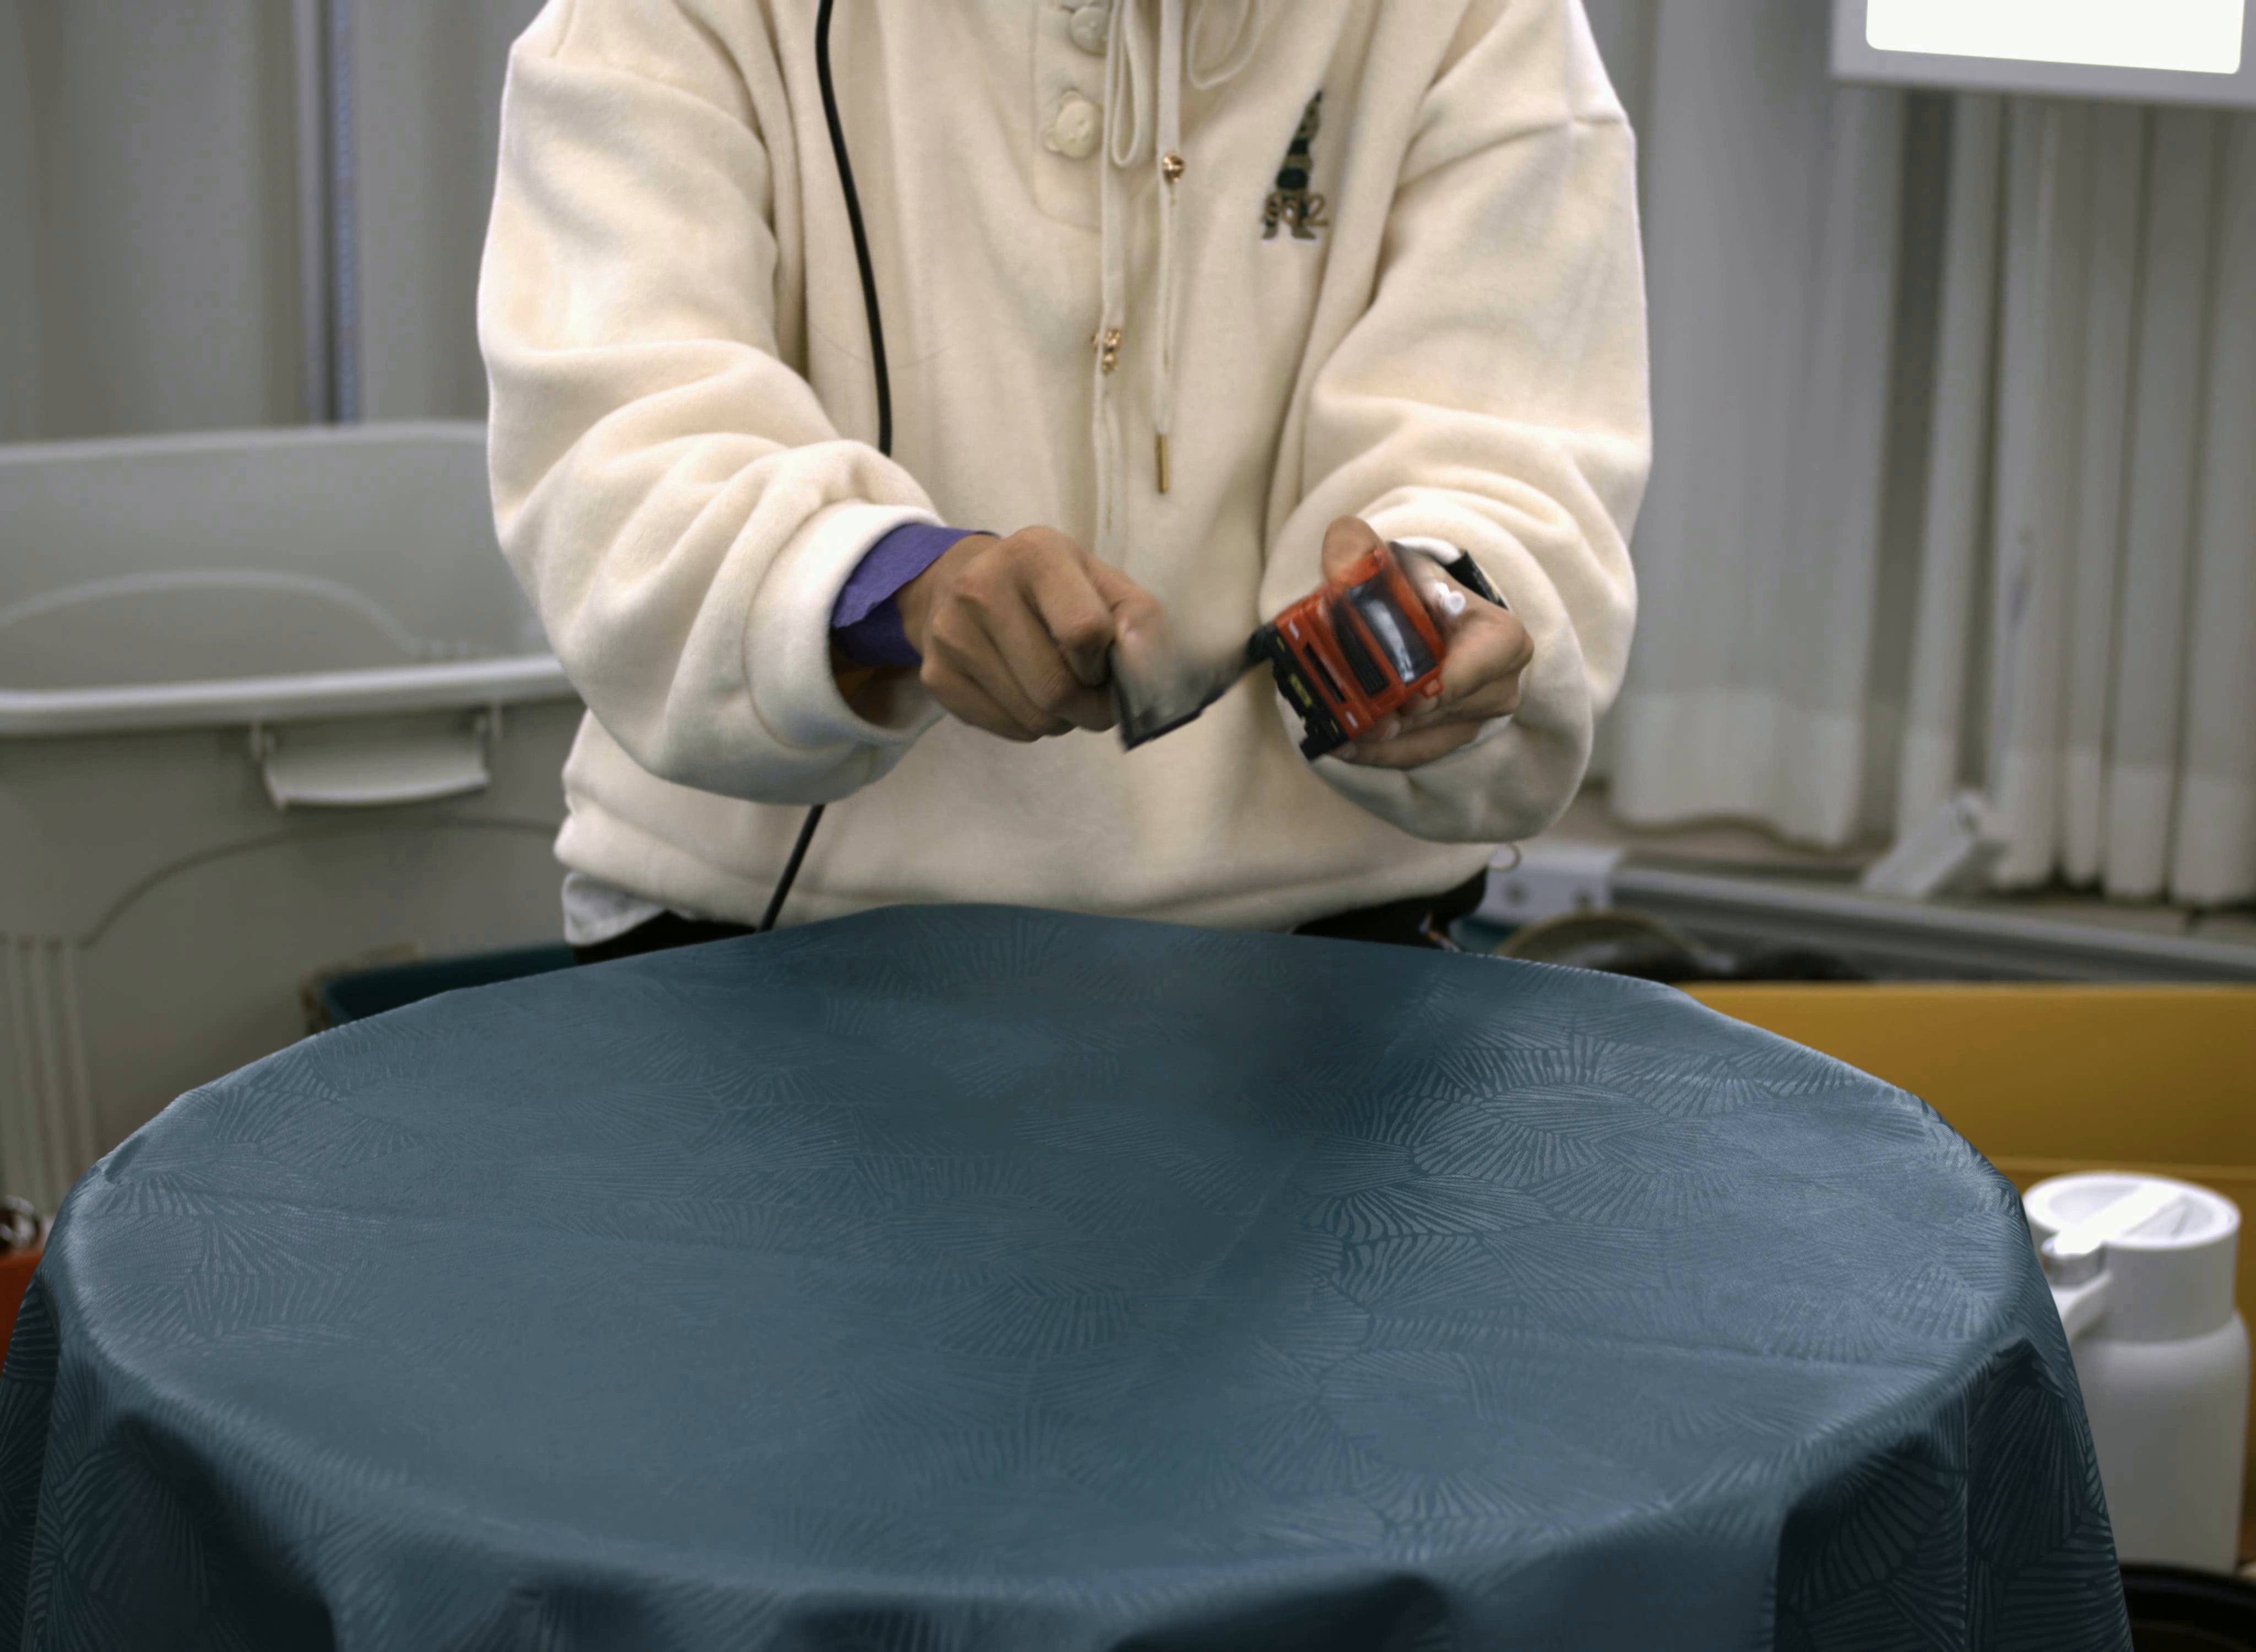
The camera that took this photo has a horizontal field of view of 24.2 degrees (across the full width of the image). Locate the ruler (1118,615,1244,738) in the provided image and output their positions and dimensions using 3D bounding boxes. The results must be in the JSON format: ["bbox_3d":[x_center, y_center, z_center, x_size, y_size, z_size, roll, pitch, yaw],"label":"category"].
[{"bbox_3d":[0.013,-0.054,1.621,0.039,0.017,0.312,-23,5,2],"label":"ruler"}]

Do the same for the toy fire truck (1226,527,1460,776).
[{"bbox_3d":[0.073,-0.057,1.667,0.070,0.054,0.168,-33,1,3],"label":"toy fire truck"}]
